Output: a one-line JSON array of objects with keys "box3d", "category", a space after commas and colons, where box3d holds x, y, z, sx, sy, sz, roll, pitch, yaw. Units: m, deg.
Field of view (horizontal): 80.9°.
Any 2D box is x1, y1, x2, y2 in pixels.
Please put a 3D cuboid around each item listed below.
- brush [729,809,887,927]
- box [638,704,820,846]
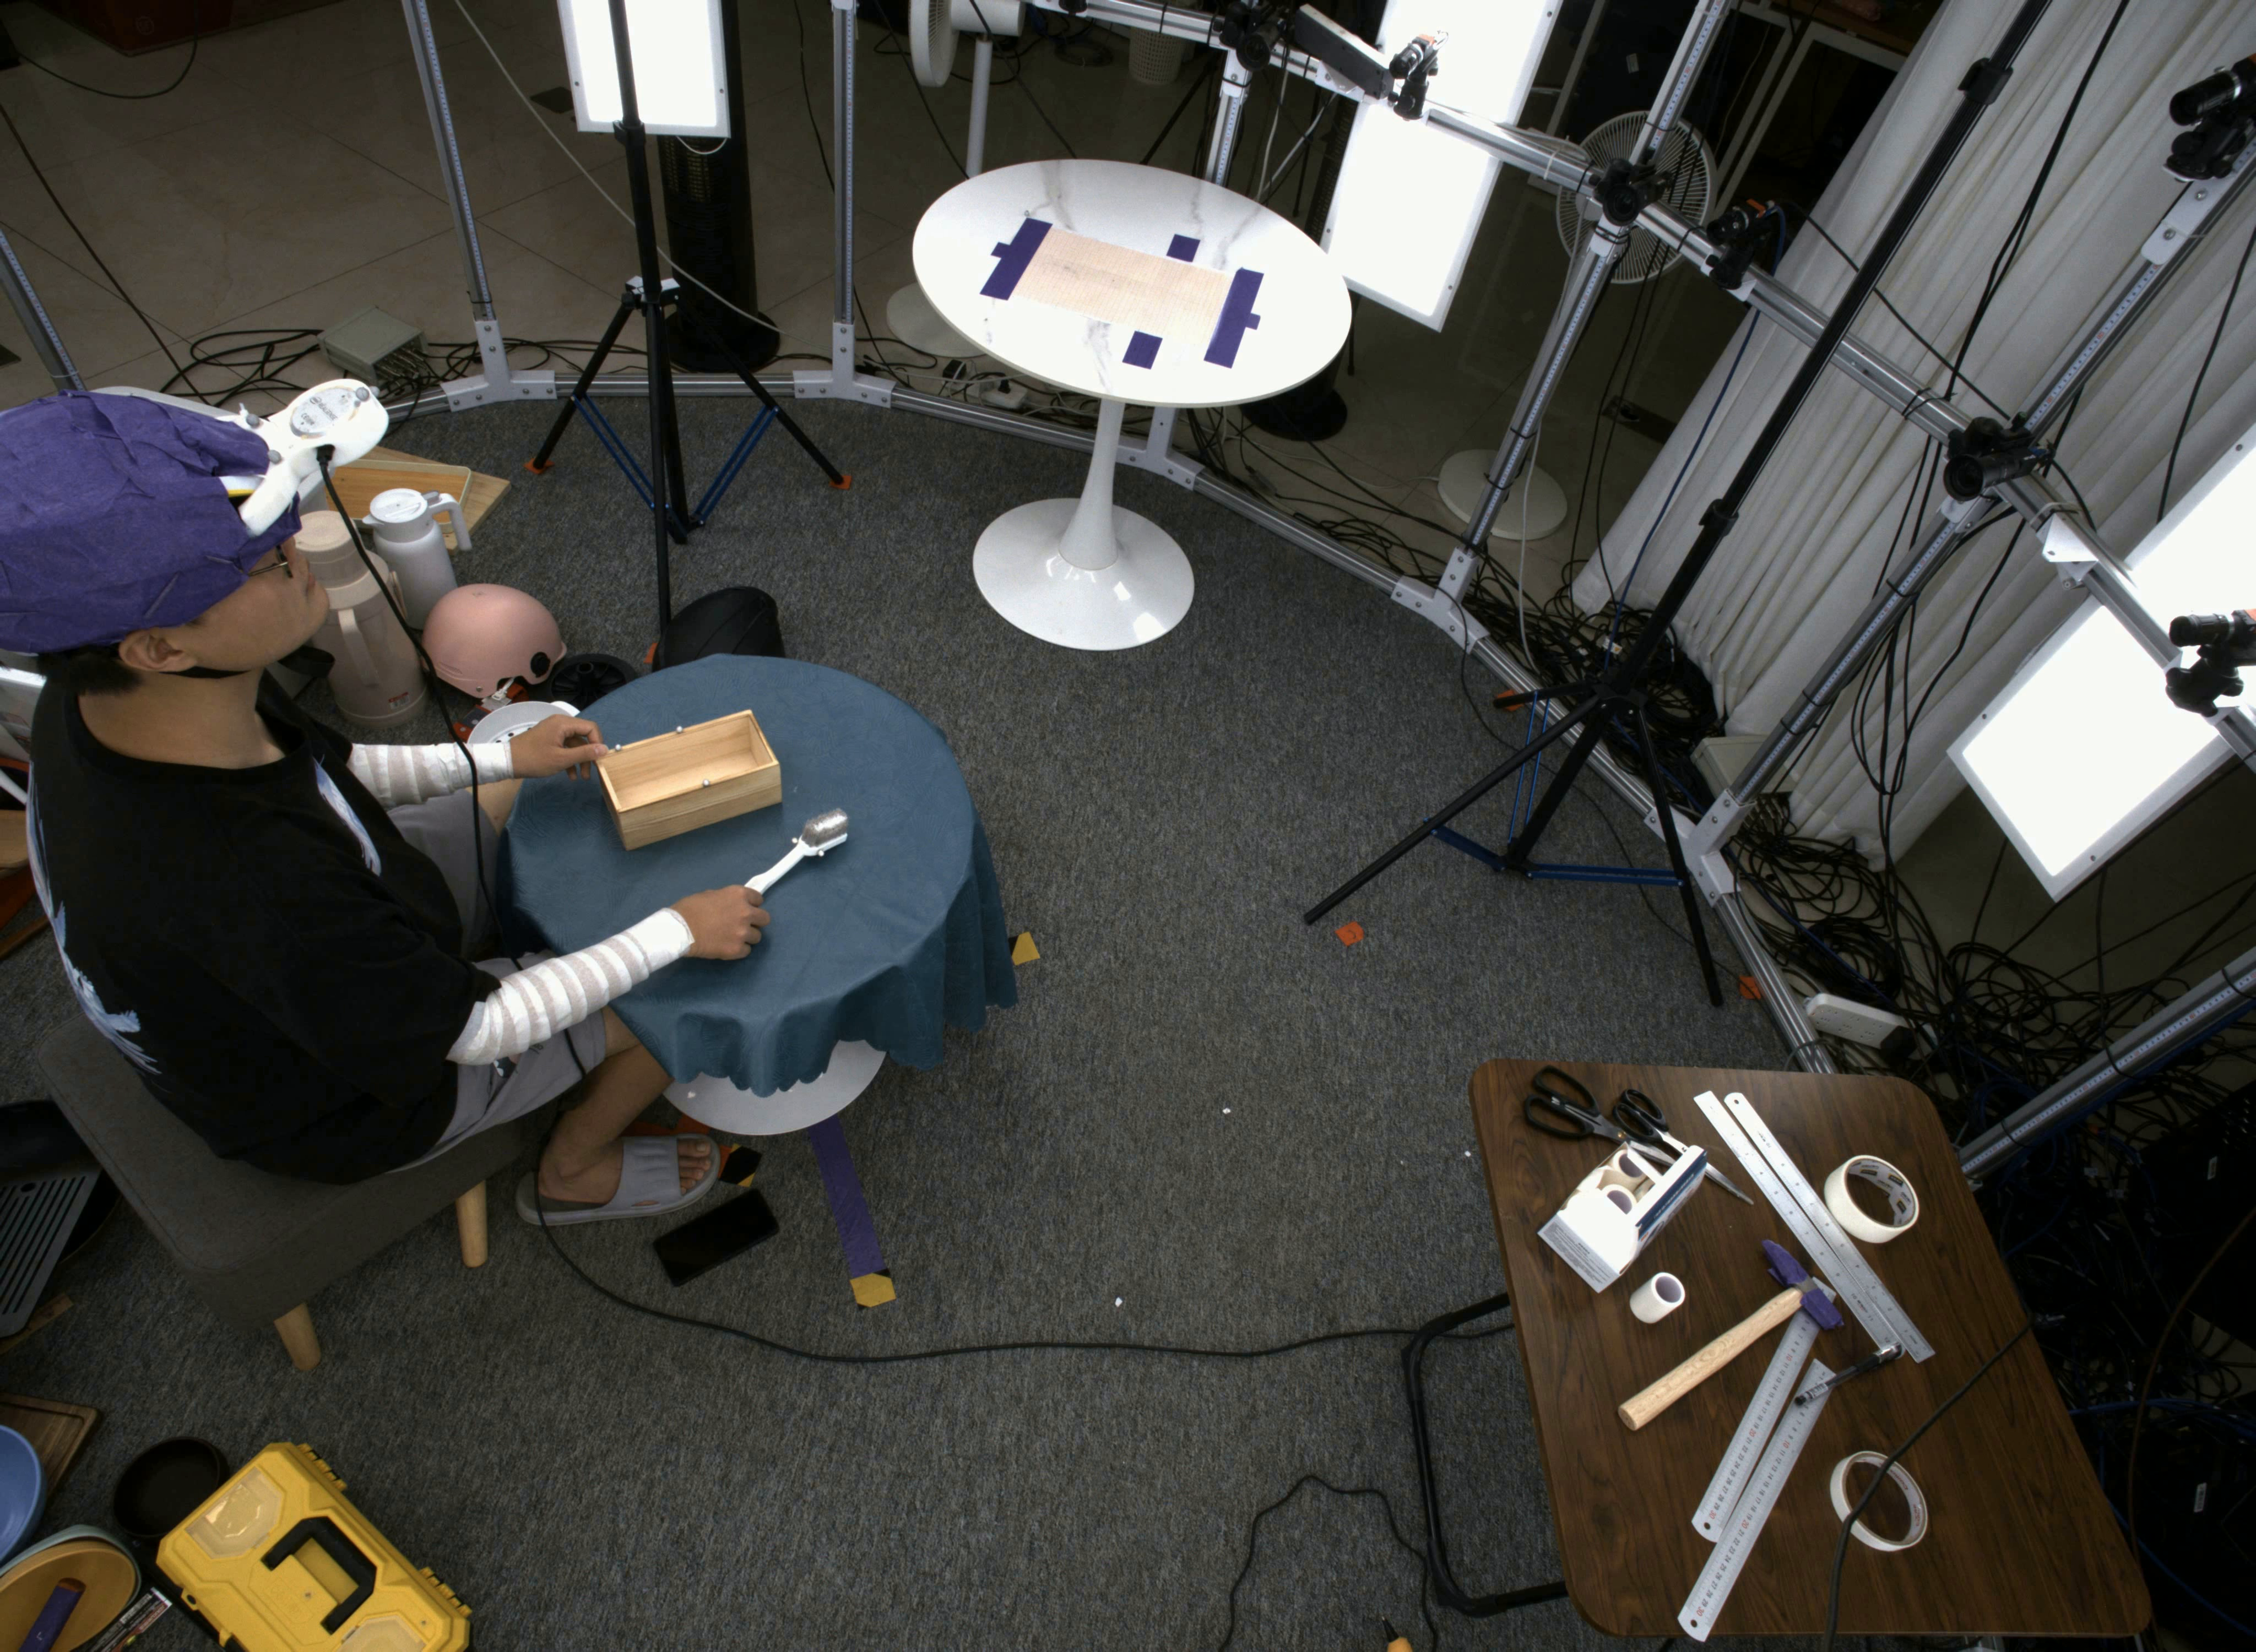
[{"box3d": [-0.412, 0.048, 1.669, 0.033, 0.051, 0.244, 41, 54, 20], "category": "brush"}, {"box3d": [-0.528, -0.070, 1.710, 0.212, 0.082, 0.105, -20, 60, -24], "category": "box"}]
